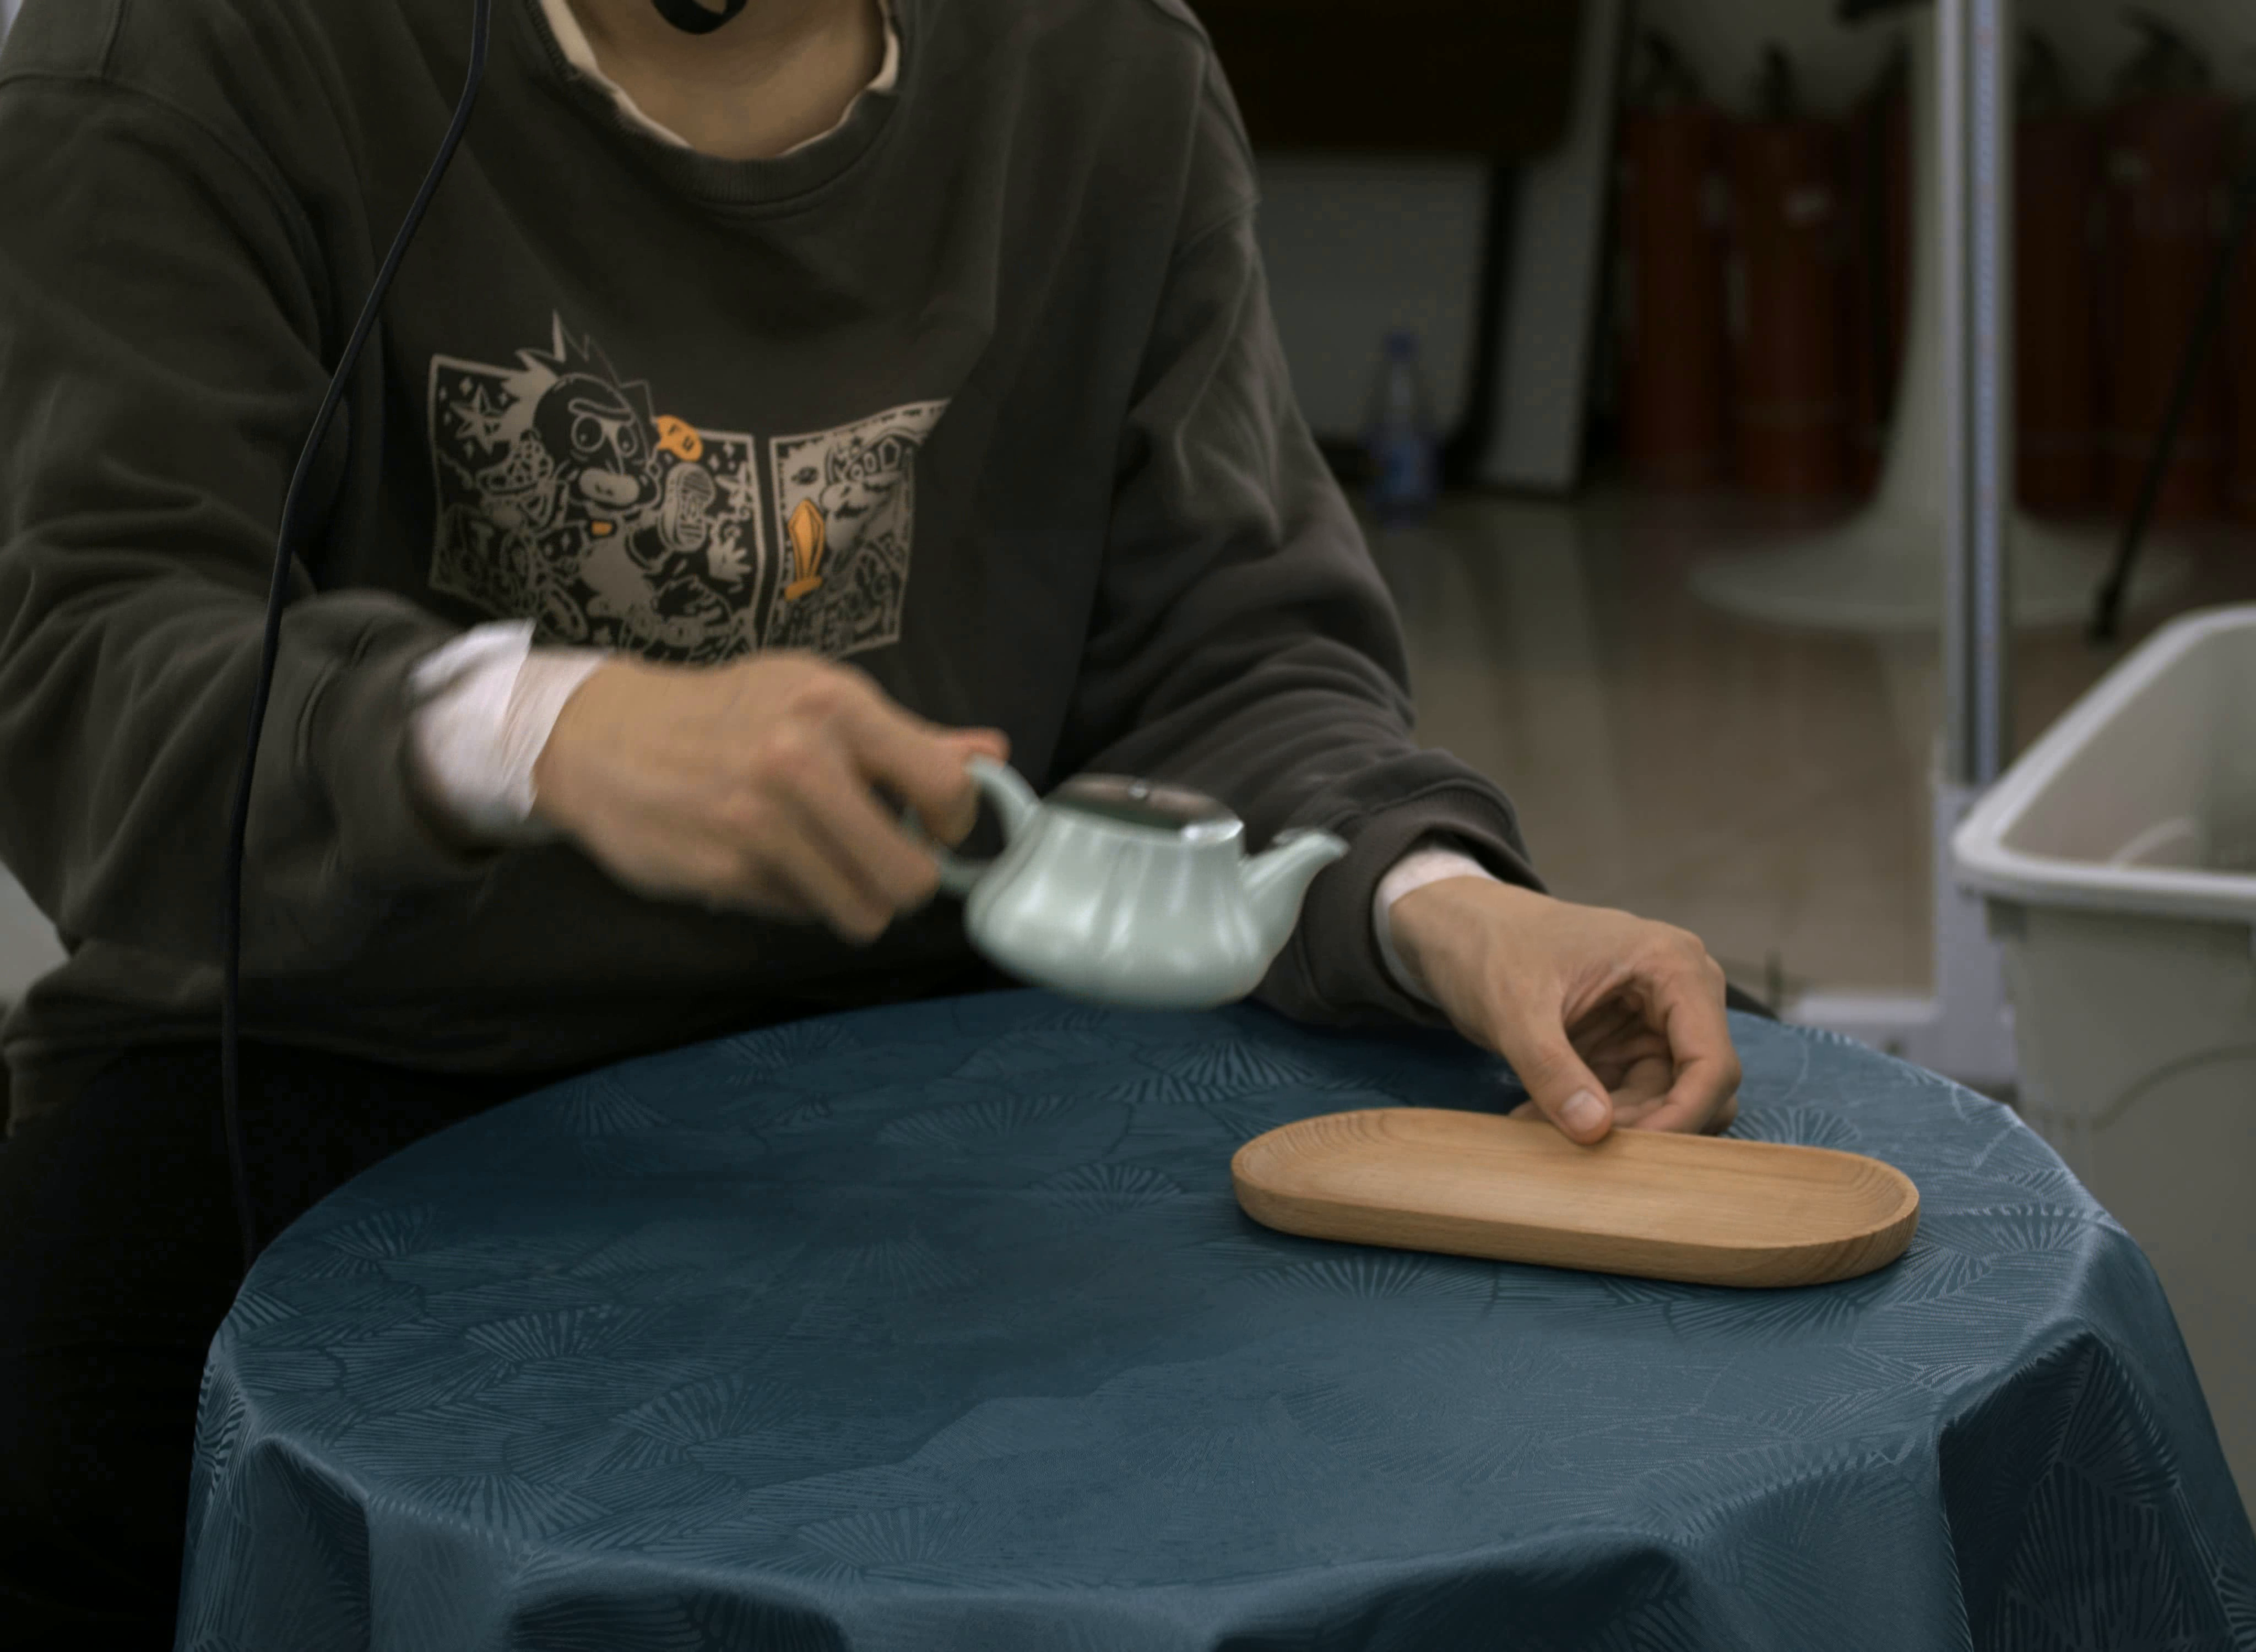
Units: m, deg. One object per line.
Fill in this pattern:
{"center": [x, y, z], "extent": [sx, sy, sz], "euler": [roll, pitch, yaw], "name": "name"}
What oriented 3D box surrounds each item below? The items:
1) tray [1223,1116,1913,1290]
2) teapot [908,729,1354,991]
{"center": [0.138, 0.119, 1.709], "extent": [0.232, 0.020, 0.100], "euler": [2, 14, 30], "name": "tray"}
{"center": [-0.003, 0.012, 1.643], "extent": [0.135, 0.062, 0.096], "euler": [13, 14, -2], "name": "teapot"}
